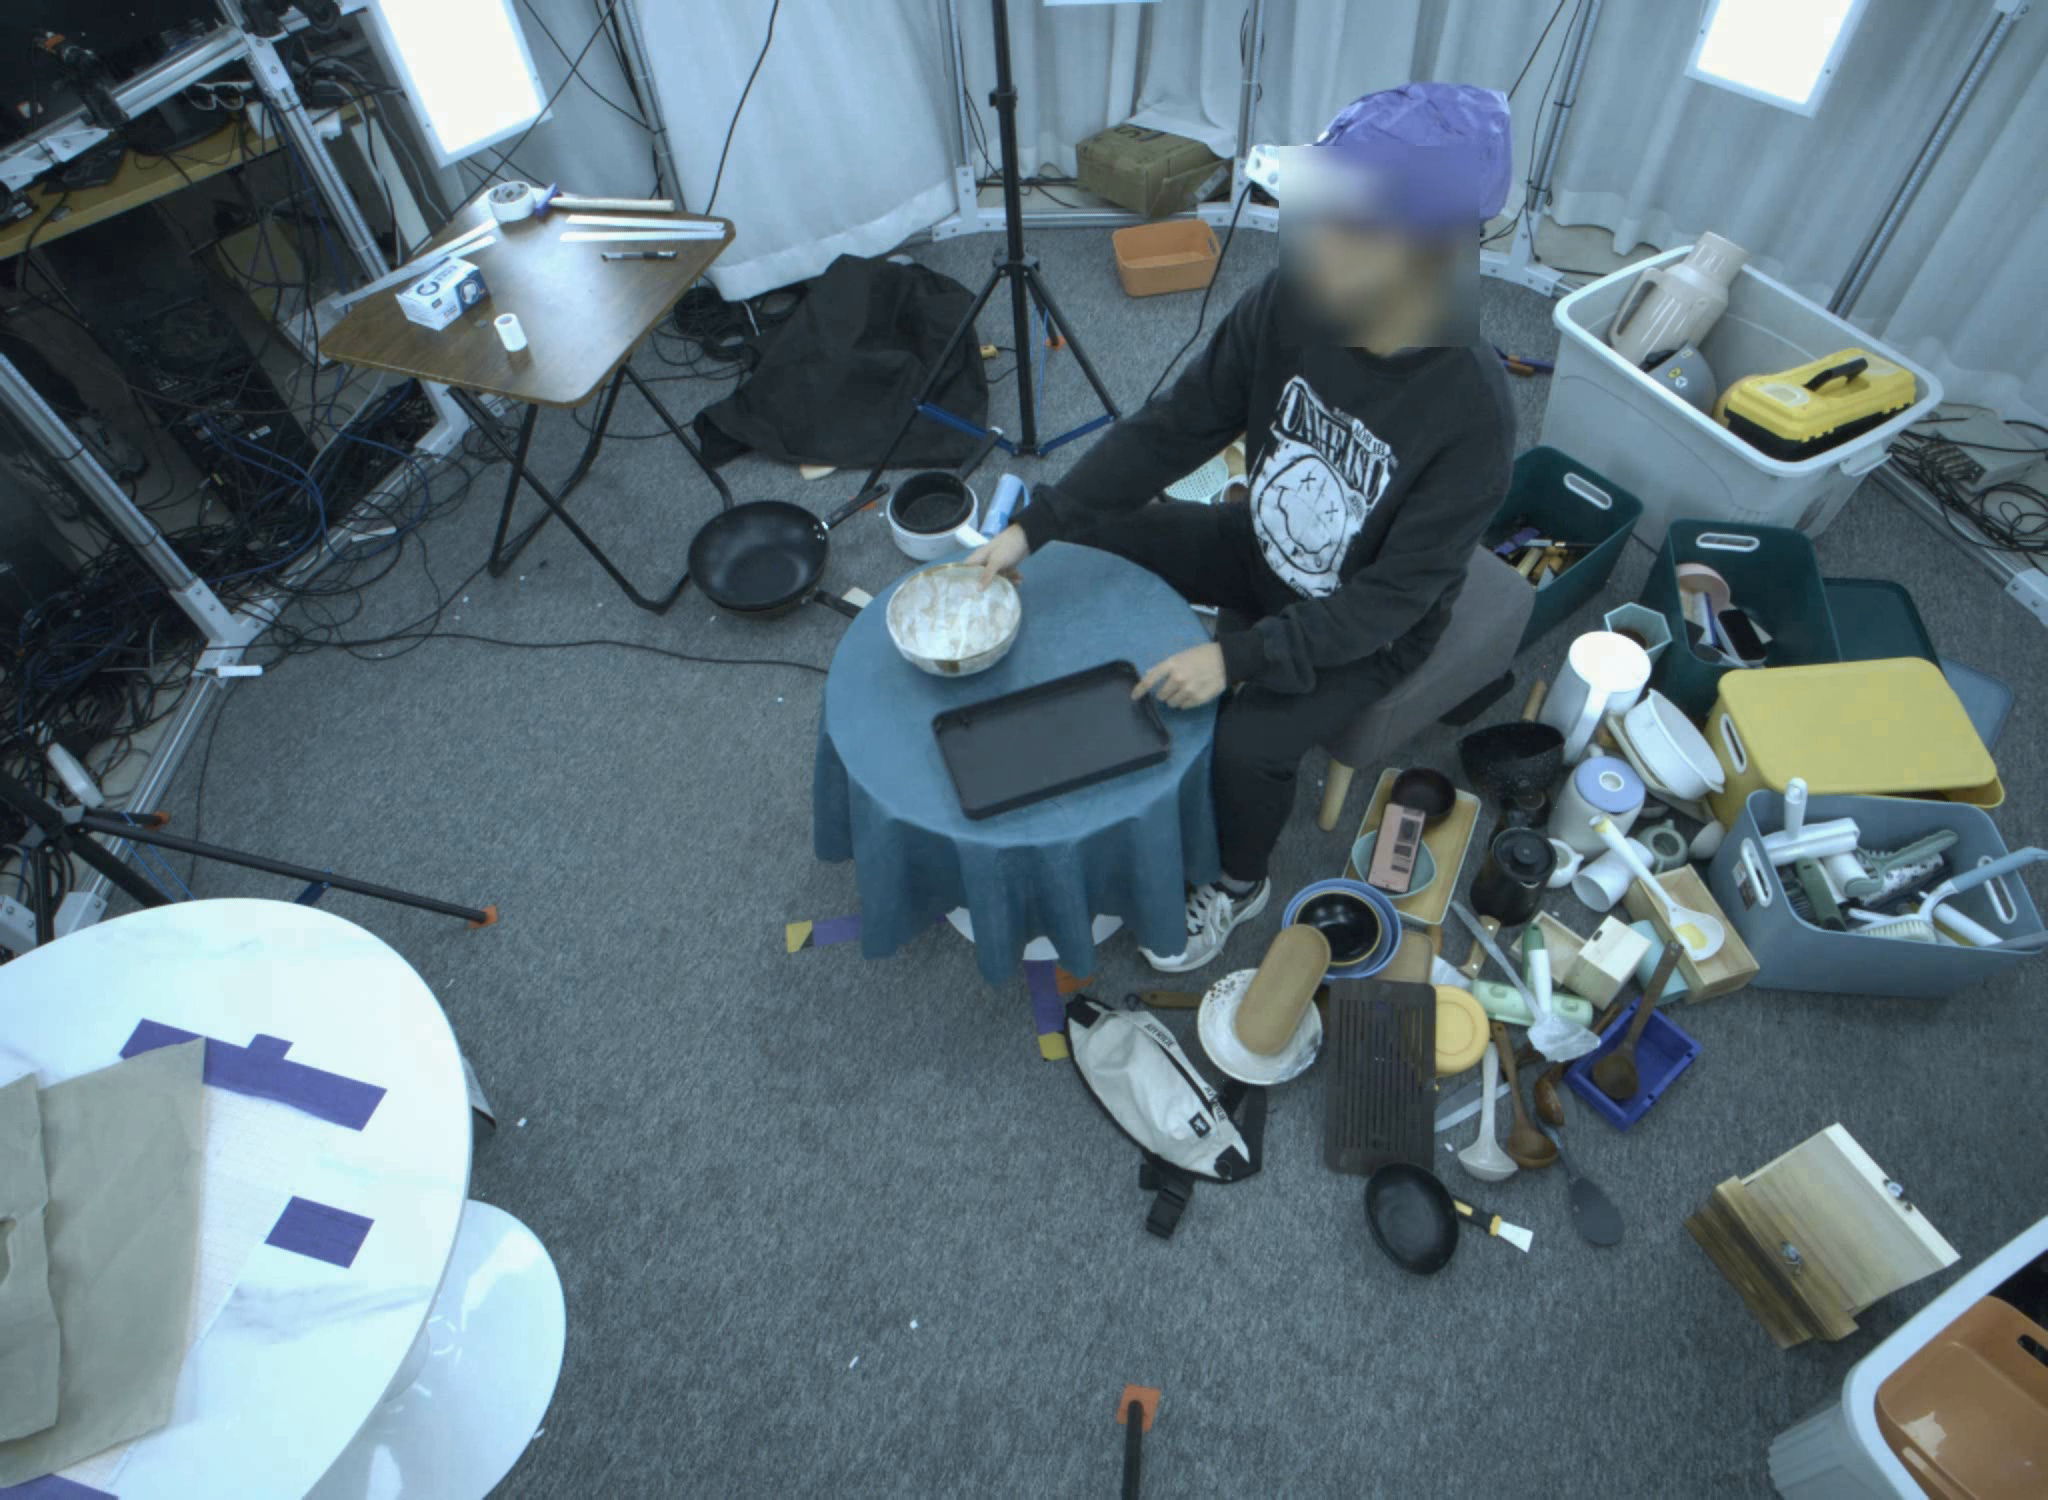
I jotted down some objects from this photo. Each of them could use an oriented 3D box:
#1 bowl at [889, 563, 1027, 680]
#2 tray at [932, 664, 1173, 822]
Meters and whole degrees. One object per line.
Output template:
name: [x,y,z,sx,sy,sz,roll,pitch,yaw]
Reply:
bowl: [-0.096,-0.179,1.869,0.214,0.095,0.212,-1,54,2]
tray: [0.040,-0.014,1.782,0.320,0.037,0.181,-16,55,-10]
